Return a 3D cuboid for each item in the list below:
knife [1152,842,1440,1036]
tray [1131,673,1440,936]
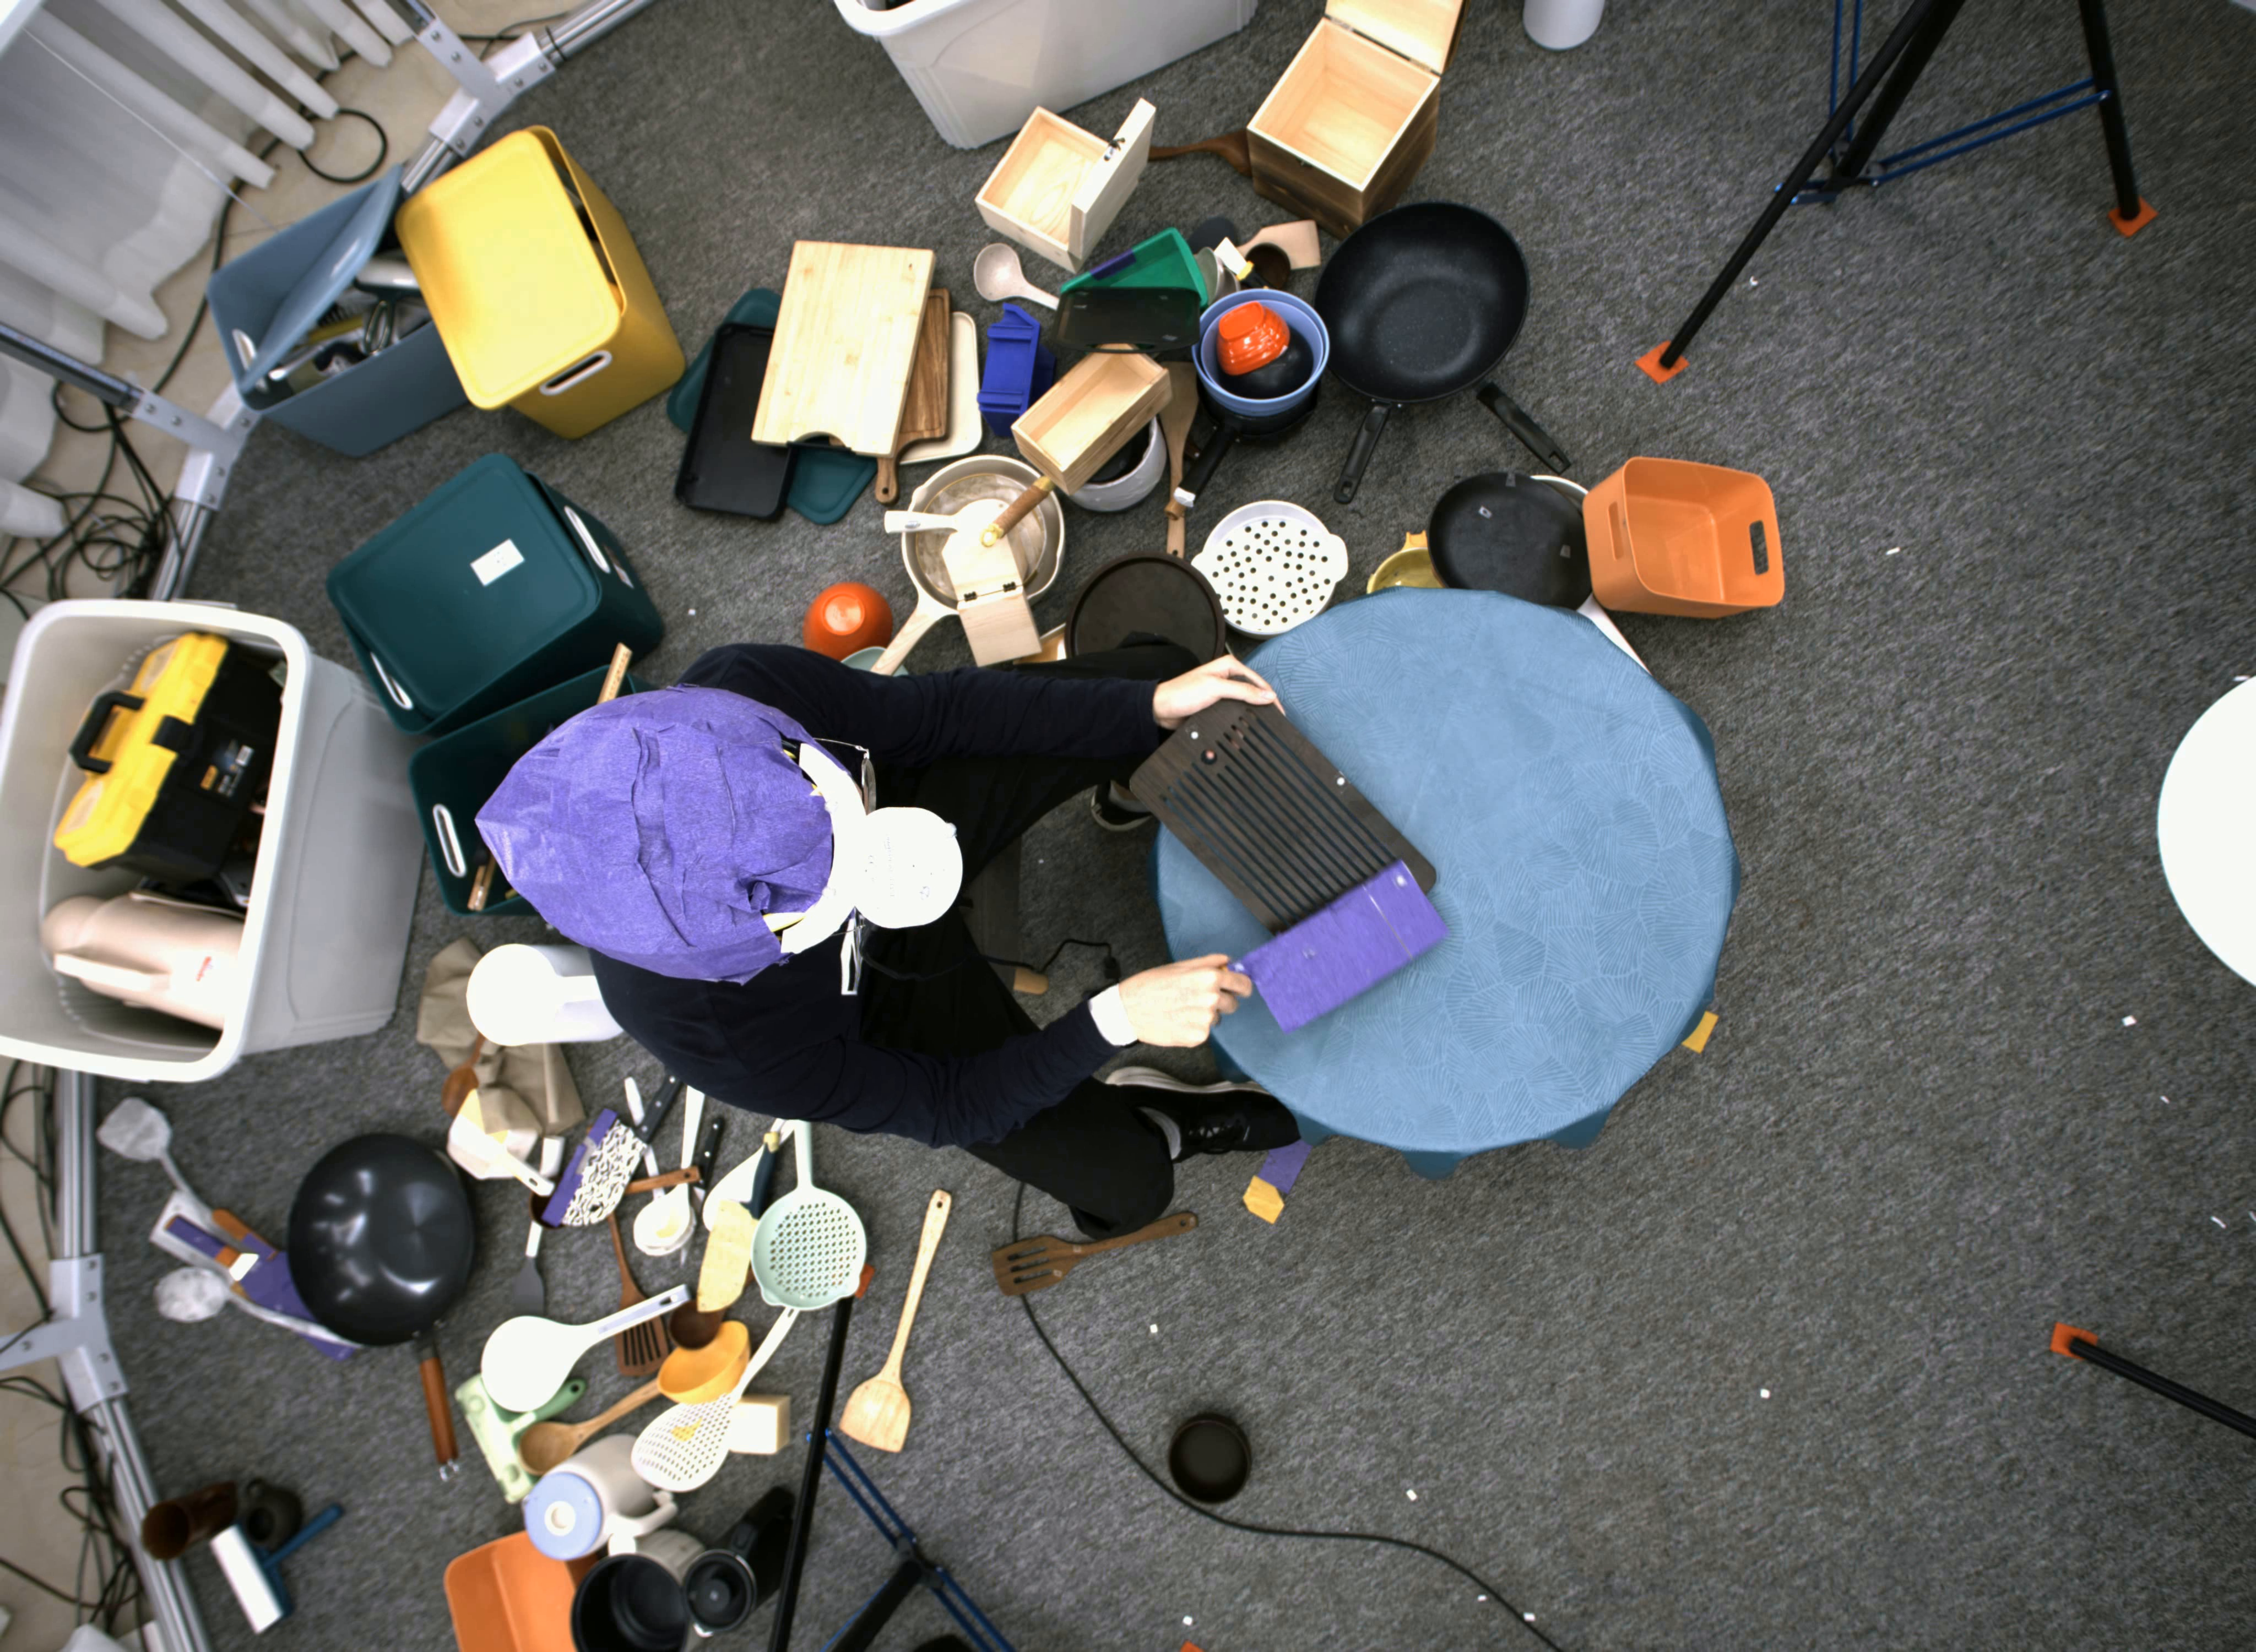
[{"bbox_3d":[0.176,0.138,1.401,0.313,0.032,0.103,-33,85,-8],"label":"knife"},{"bbox_3d":[0.164,-0.001,1.448,0.306,0.018,0.171,45,95,-1],"label":"tray"}]
